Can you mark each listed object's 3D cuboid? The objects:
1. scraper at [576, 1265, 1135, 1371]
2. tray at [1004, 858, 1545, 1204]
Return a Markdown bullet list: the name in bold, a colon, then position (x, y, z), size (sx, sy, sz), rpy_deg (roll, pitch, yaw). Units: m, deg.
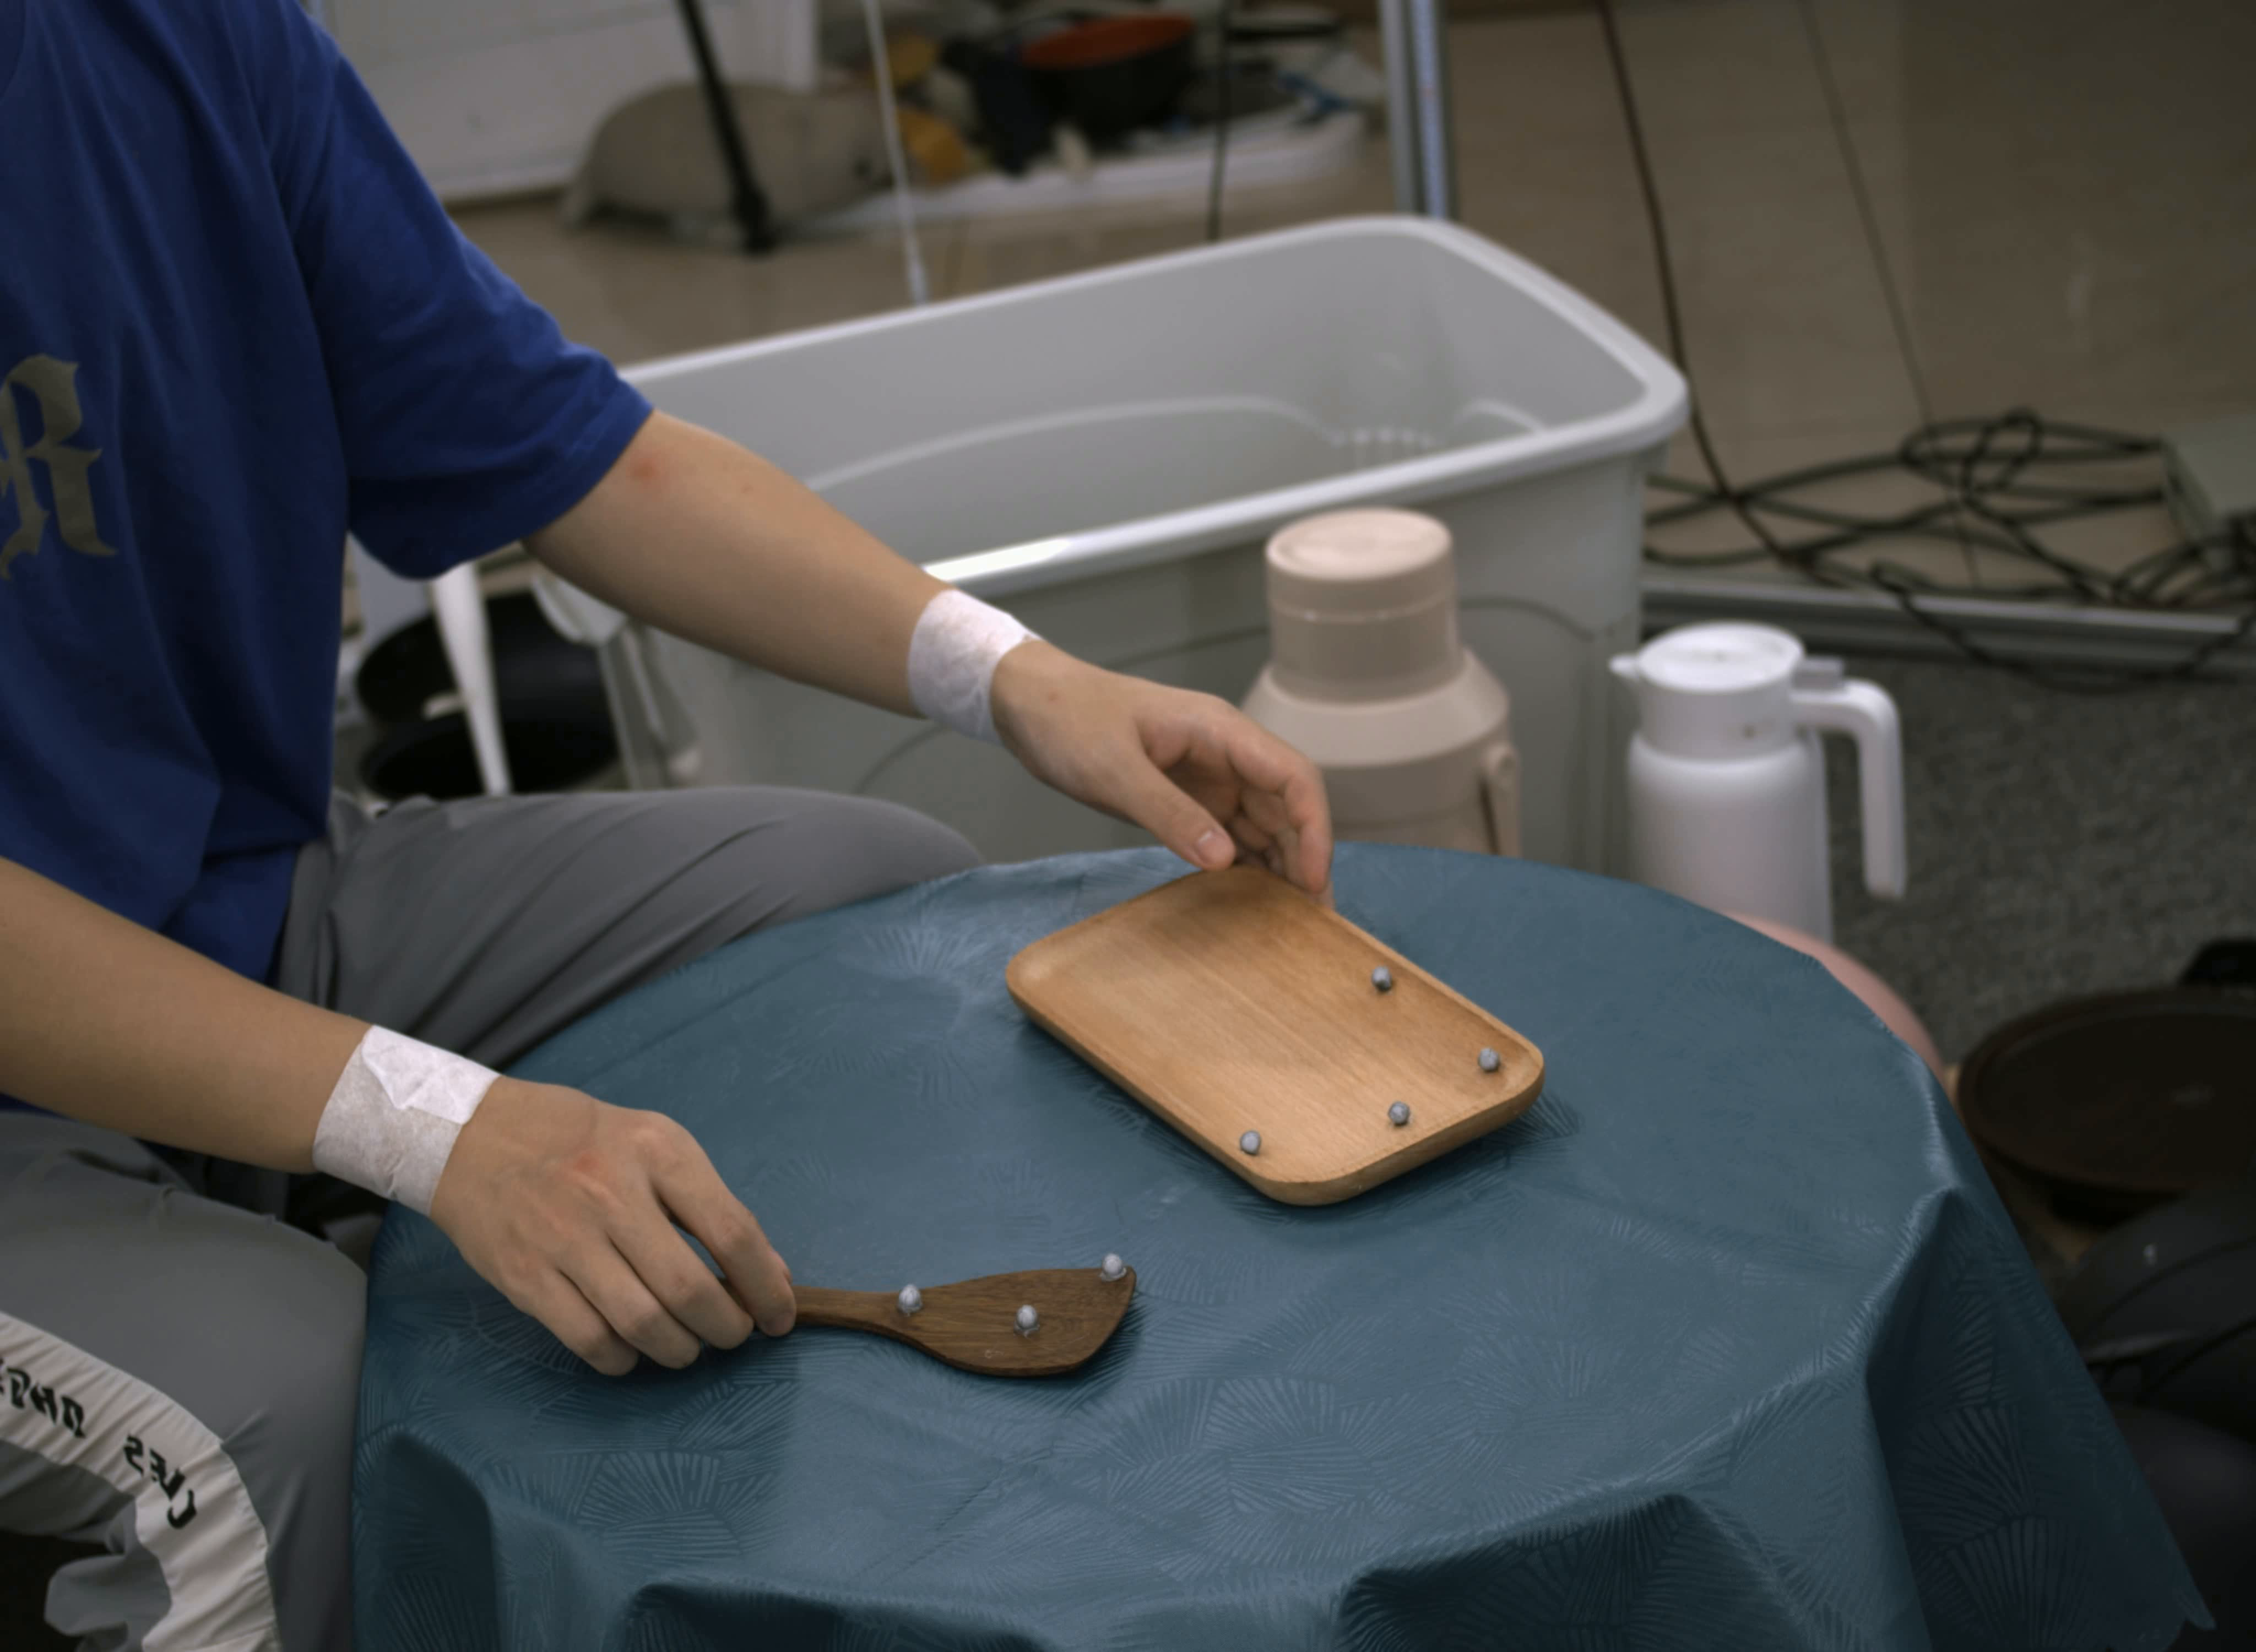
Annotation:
- **scraper**: position (-0.102, 0.176, 2.079), size (0.211, 0.011, 0.075), rpy_deg (2, 24, 17)
- **tray**: position (0.055, 0.078, 2.226), size (0.130, 0.023, 0.248), rpy_deg (-21, 29, -21)
